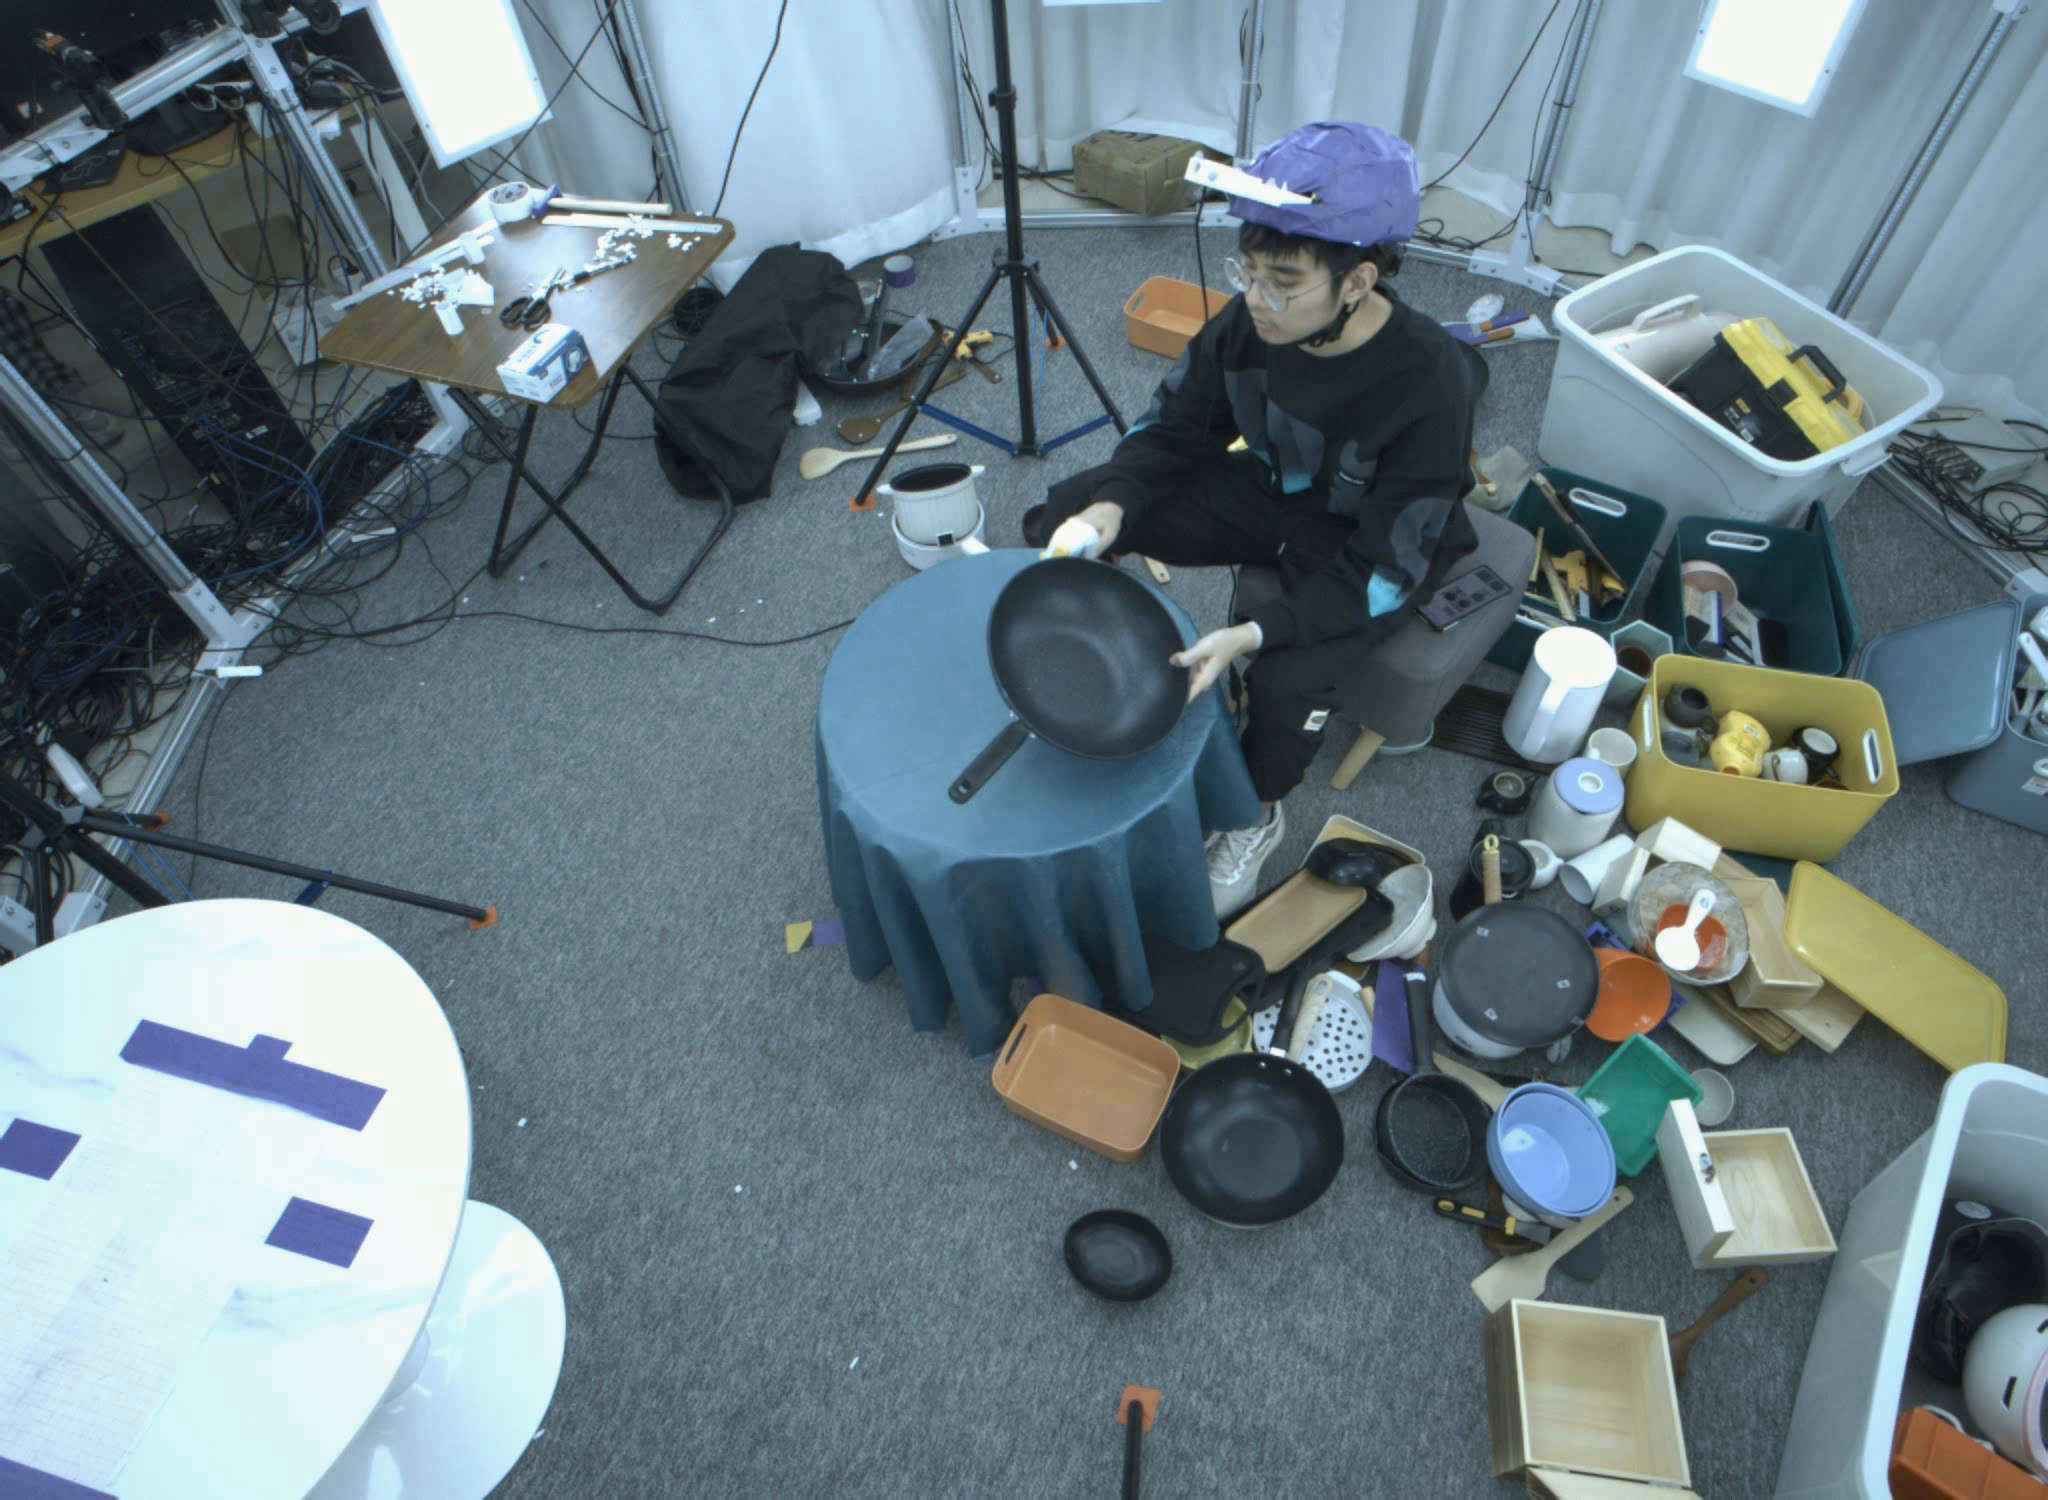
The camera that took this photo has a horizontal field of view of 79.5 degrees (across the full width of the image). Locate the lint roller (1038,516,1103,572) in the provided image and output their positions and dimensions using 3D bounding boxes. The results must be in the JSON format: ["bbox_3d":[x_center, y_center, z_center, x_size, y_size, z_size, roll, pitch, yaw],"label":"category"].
[{"bbox_3d":[0.076,-0.287,1.863,0.073,0.193,0.194,35,38,14],"label":"lint roller"}]

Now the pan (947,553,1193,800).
[{"bbox_3d":[0.035,-0.074,1.677,0.311,0.111,0.479,44,59,-2],"label":"pan"}]
